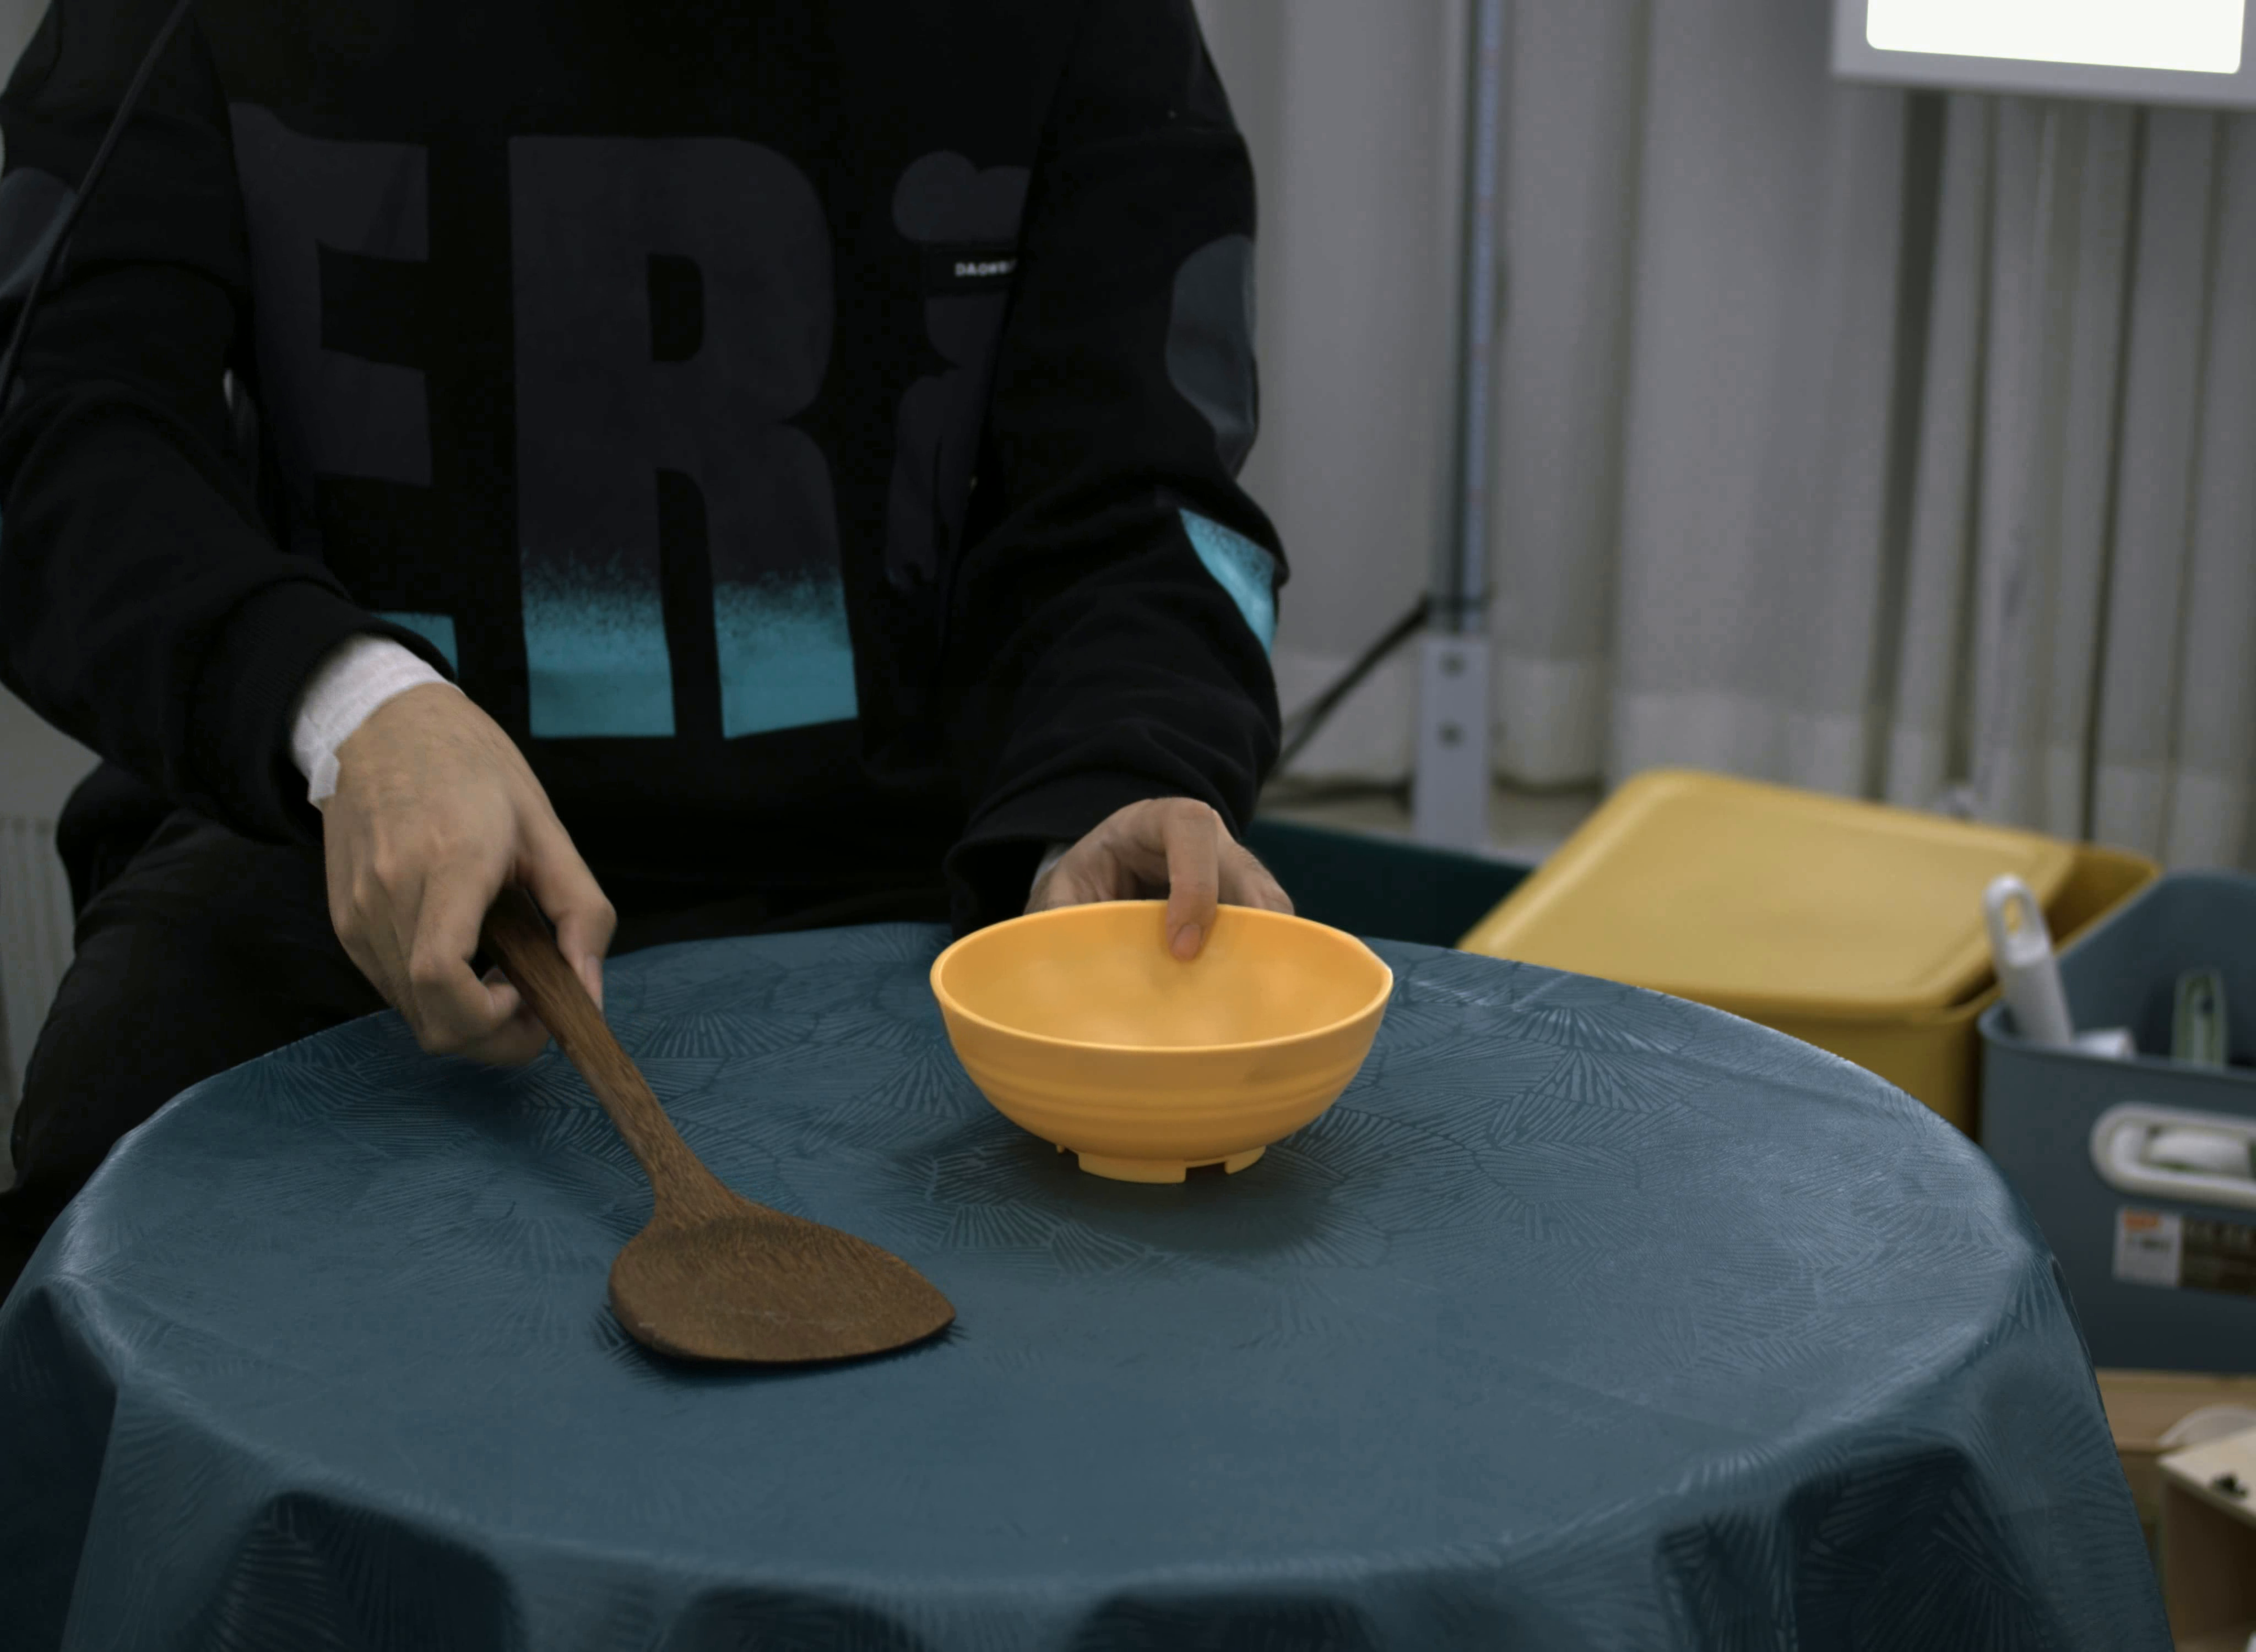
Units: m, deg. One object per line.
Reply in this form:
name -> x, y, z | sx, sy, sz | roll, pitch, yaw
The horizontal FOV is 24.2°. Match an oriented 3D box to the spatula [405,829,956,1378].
spatula -> -0.161, 0.077, 1.634 | 0.096, 0.016, 0.381 | -4, 26, -24

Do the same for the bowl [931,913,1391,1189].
bowl -> 0.009, 0.075, 1.654 | 0.145, 0.060, 0.144 | 2, 15, 0
